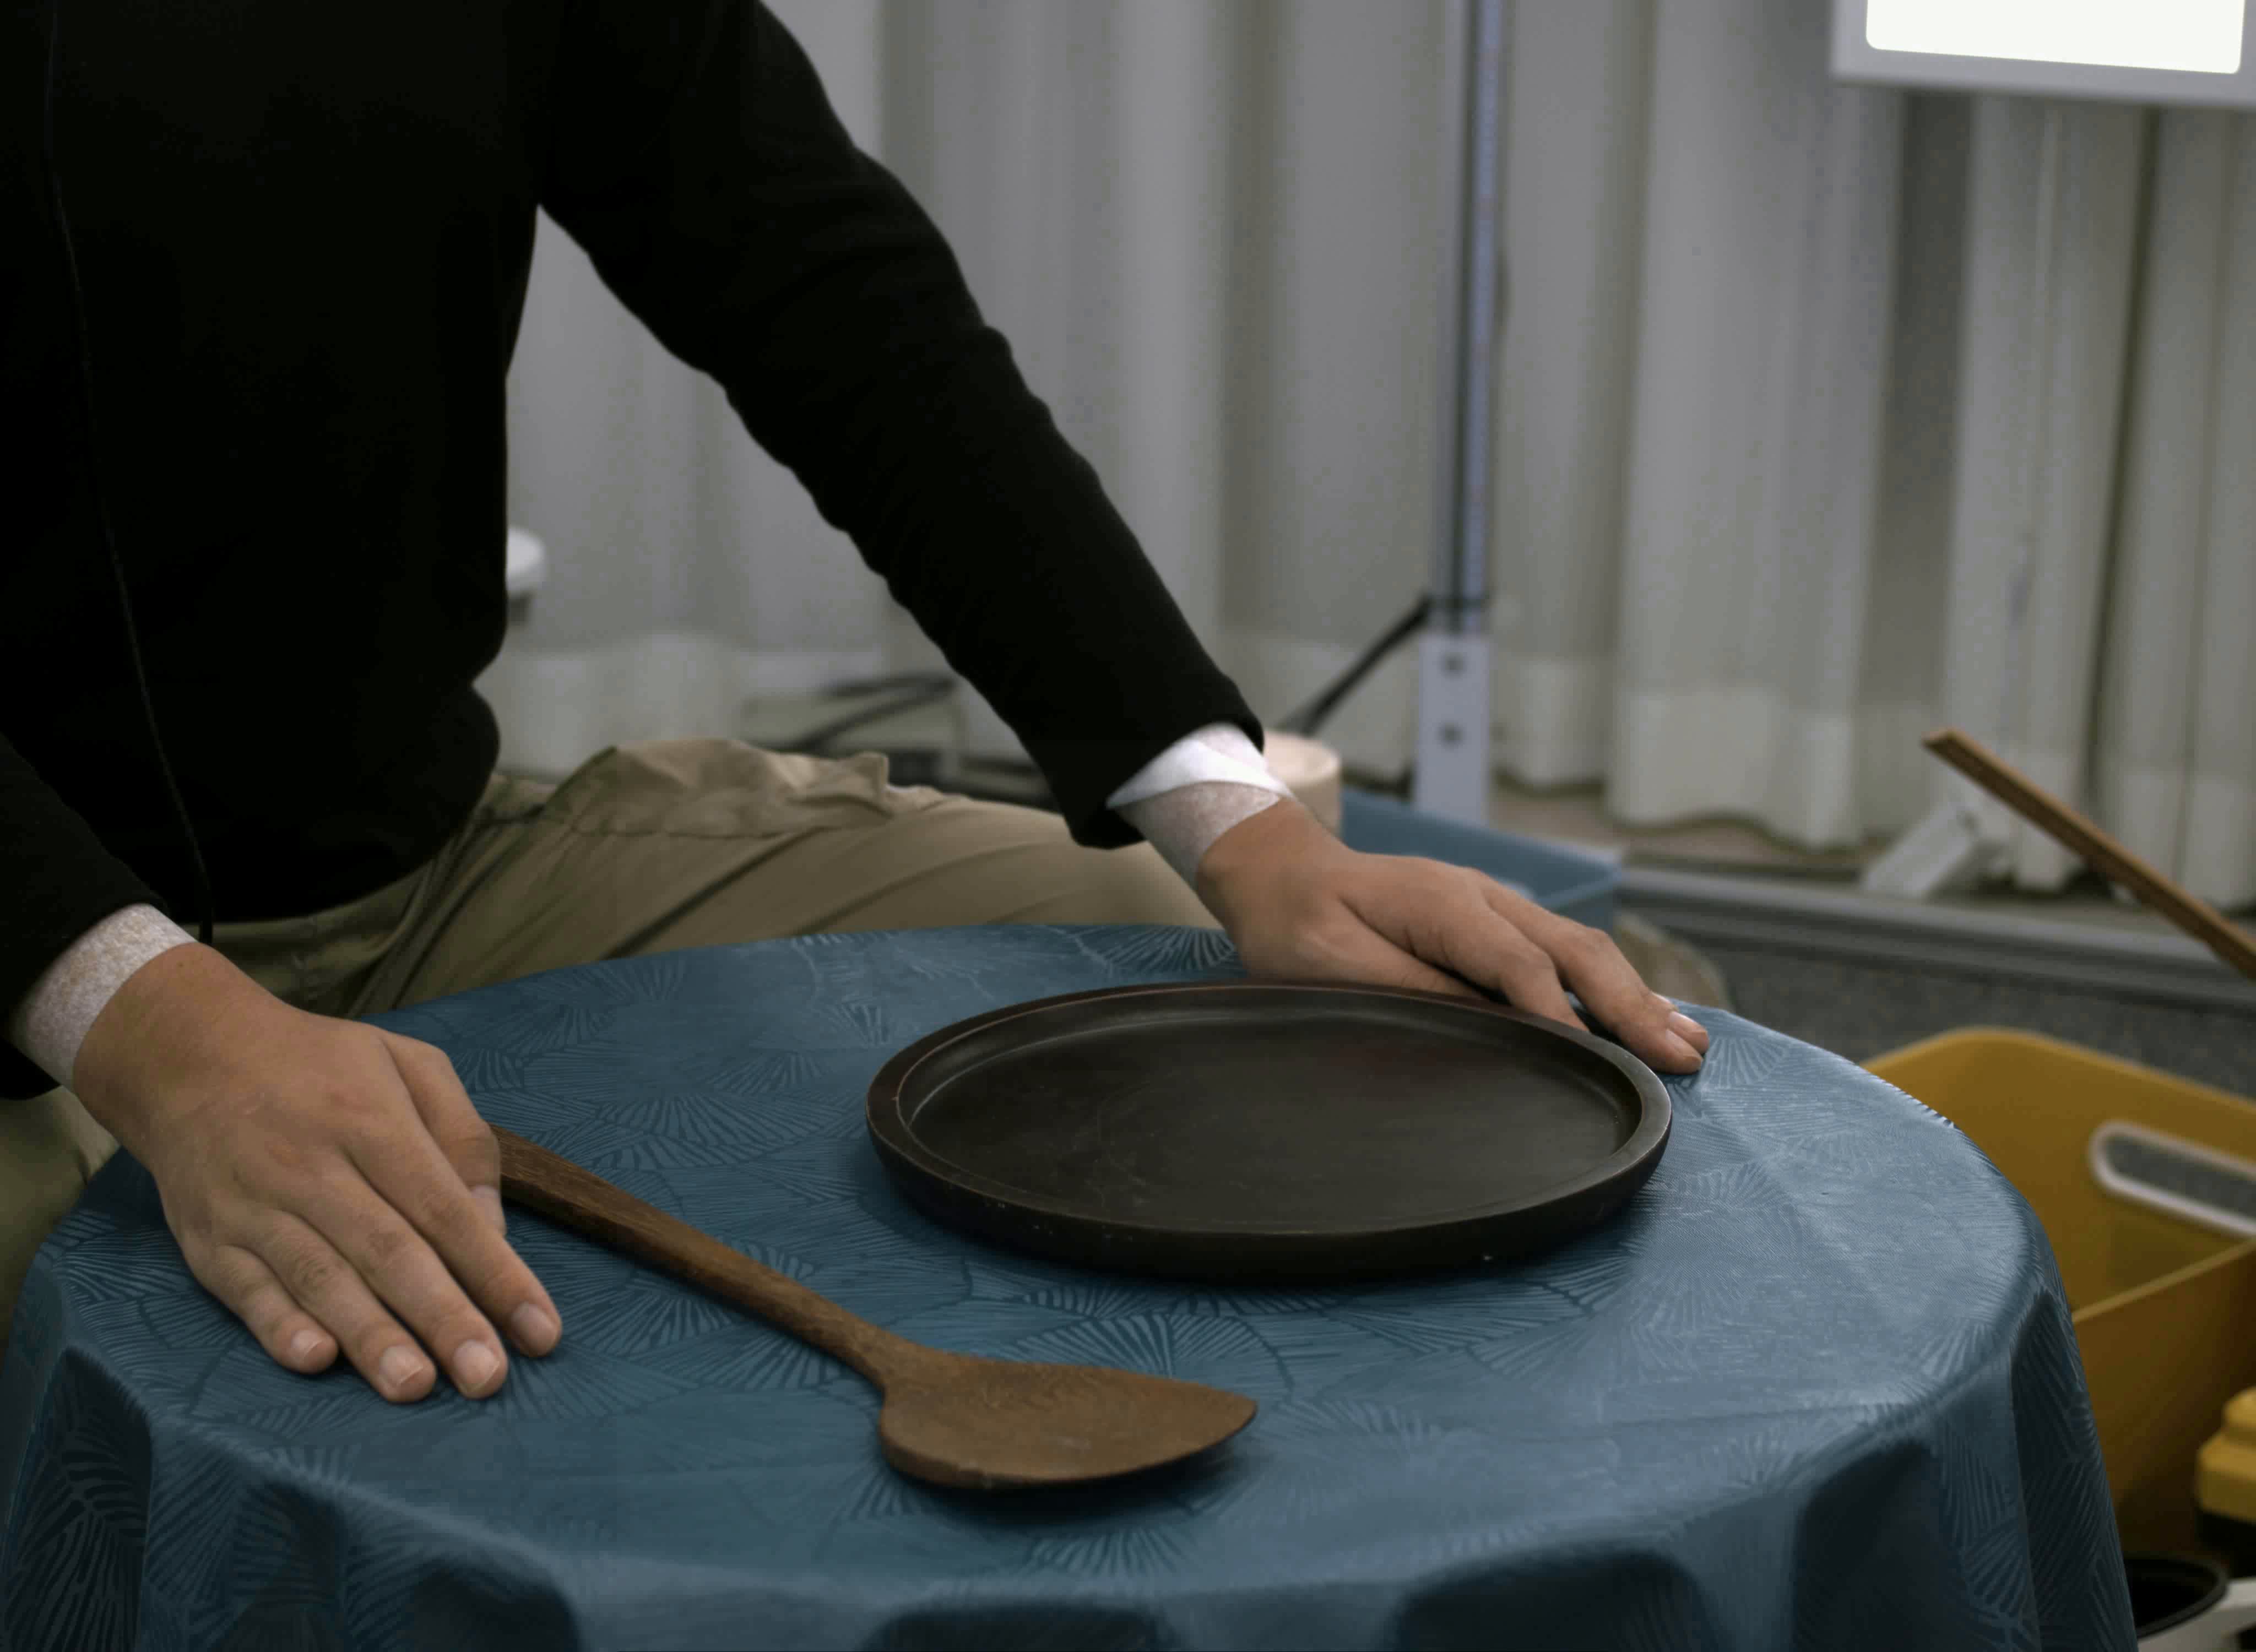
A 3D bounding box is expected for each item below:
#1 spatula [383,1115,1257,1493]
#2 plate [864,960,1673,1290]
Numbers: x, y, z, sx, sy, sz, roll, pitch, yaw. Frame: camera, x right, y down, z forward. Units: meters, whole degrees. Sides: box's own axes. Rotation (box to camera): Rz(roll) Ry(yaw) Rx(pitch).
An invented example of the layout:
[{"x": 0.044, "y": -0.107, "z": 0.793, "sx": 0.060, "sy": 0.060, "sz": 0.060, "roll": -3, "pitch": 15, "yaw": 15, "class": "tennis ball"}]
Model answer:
[{"x": -0.111, "y": 0.132, "z": 1.520, "sx": 0.096, "sy": 0.016, "sz": 0.381, "roll": -11, "pitch": 19, "yaw": -38, "class": "spatula"}, {"x": 0.043, "y": 0.094, "z": 1.645, "sx": 0.254, "sy": 0.029, "sz": 0.253, "roll": -1, "pitch": 16, "yaw": 1, "class": "plate"}]
